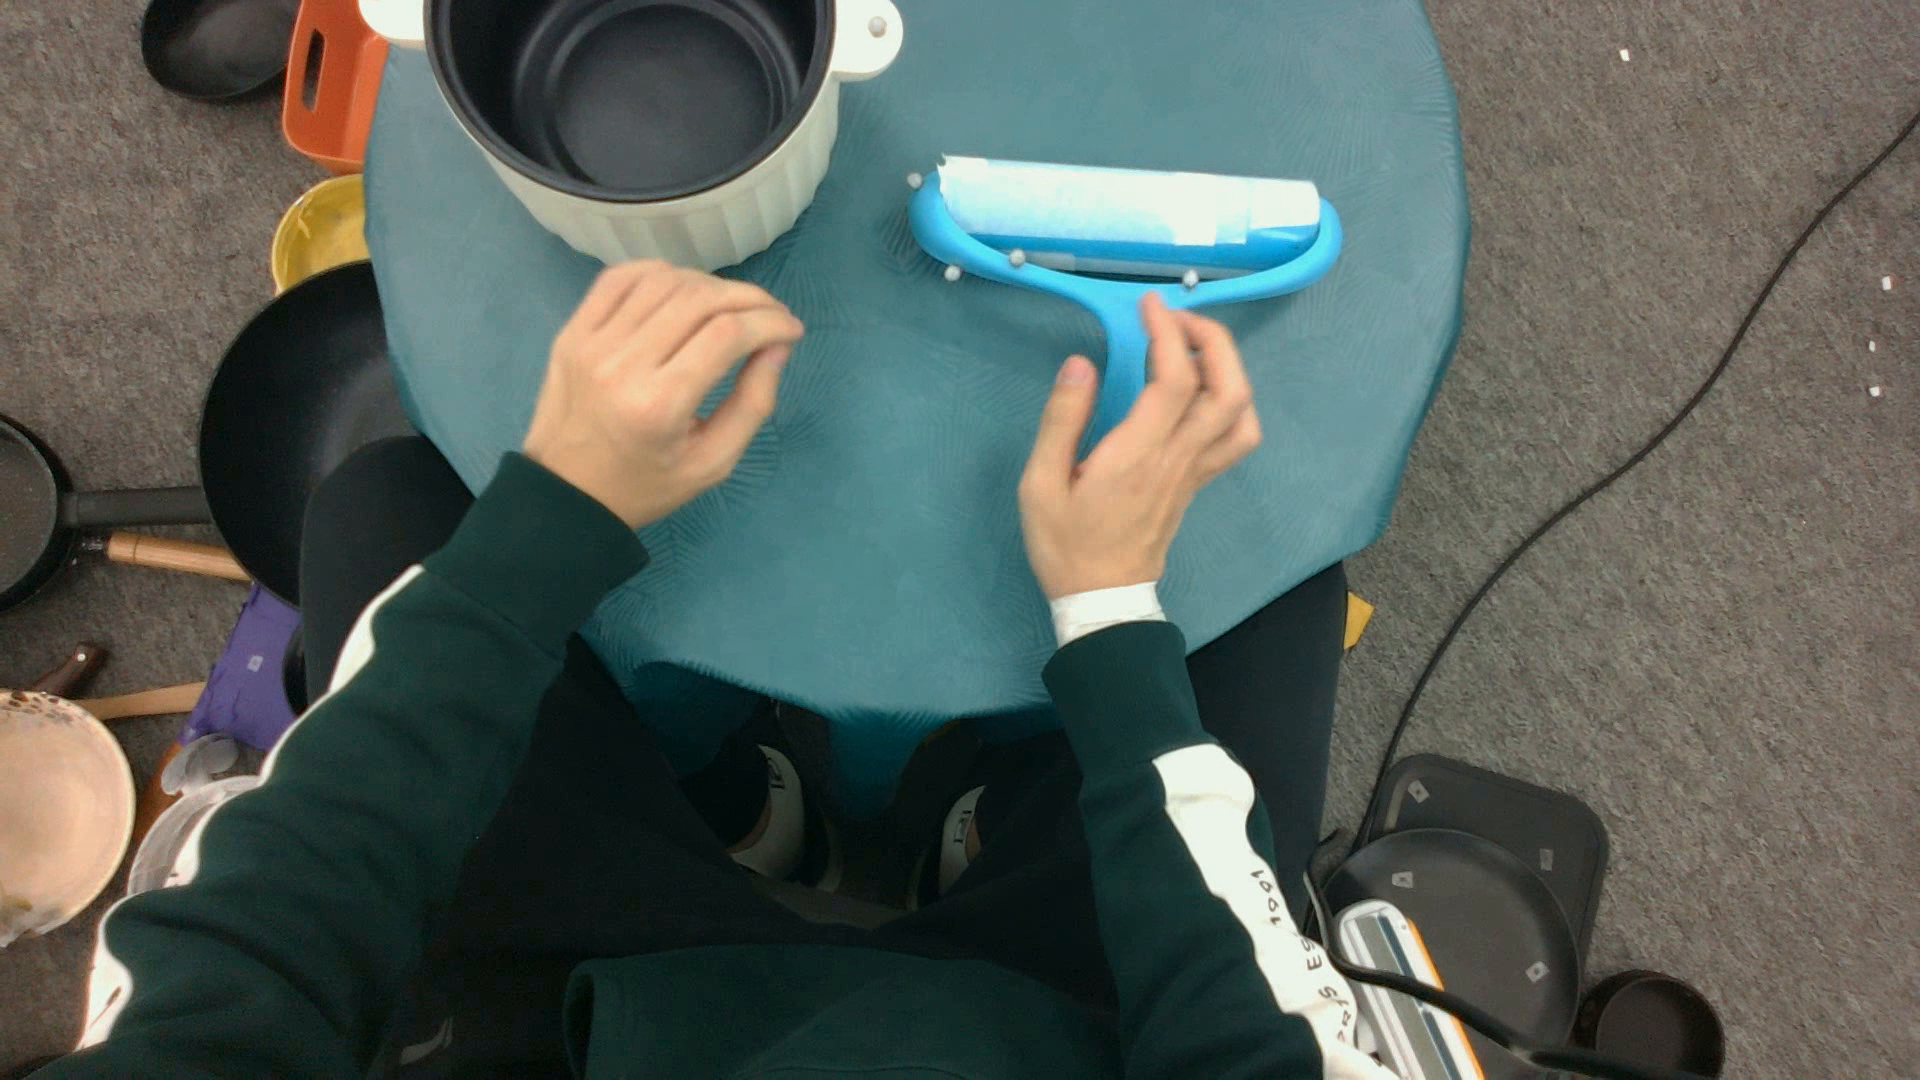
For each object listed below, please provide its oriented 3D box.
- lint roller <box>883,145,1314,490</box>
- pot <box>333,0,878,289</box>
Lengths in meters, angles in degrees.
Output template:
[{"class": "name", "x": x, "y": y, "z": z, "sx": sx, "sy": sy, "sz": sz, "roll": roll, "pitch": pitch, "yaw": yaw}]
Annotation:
[{"class": "lint roller", "x": 0.076, "y": -0.120, "z": 0.718, "sx": 0.229, "sy": 0.068, "sz": 0.180, "roll": -1, "pitch": 80, "yaw": -6}, {"class": "pot", "x": -0.162, "y": -0.232, "z": 0.677, "sx": 0.240, "sy": 0.142, "sz": 0.190, "roll": 1, "pitch": 84, "yaw": -5}]
